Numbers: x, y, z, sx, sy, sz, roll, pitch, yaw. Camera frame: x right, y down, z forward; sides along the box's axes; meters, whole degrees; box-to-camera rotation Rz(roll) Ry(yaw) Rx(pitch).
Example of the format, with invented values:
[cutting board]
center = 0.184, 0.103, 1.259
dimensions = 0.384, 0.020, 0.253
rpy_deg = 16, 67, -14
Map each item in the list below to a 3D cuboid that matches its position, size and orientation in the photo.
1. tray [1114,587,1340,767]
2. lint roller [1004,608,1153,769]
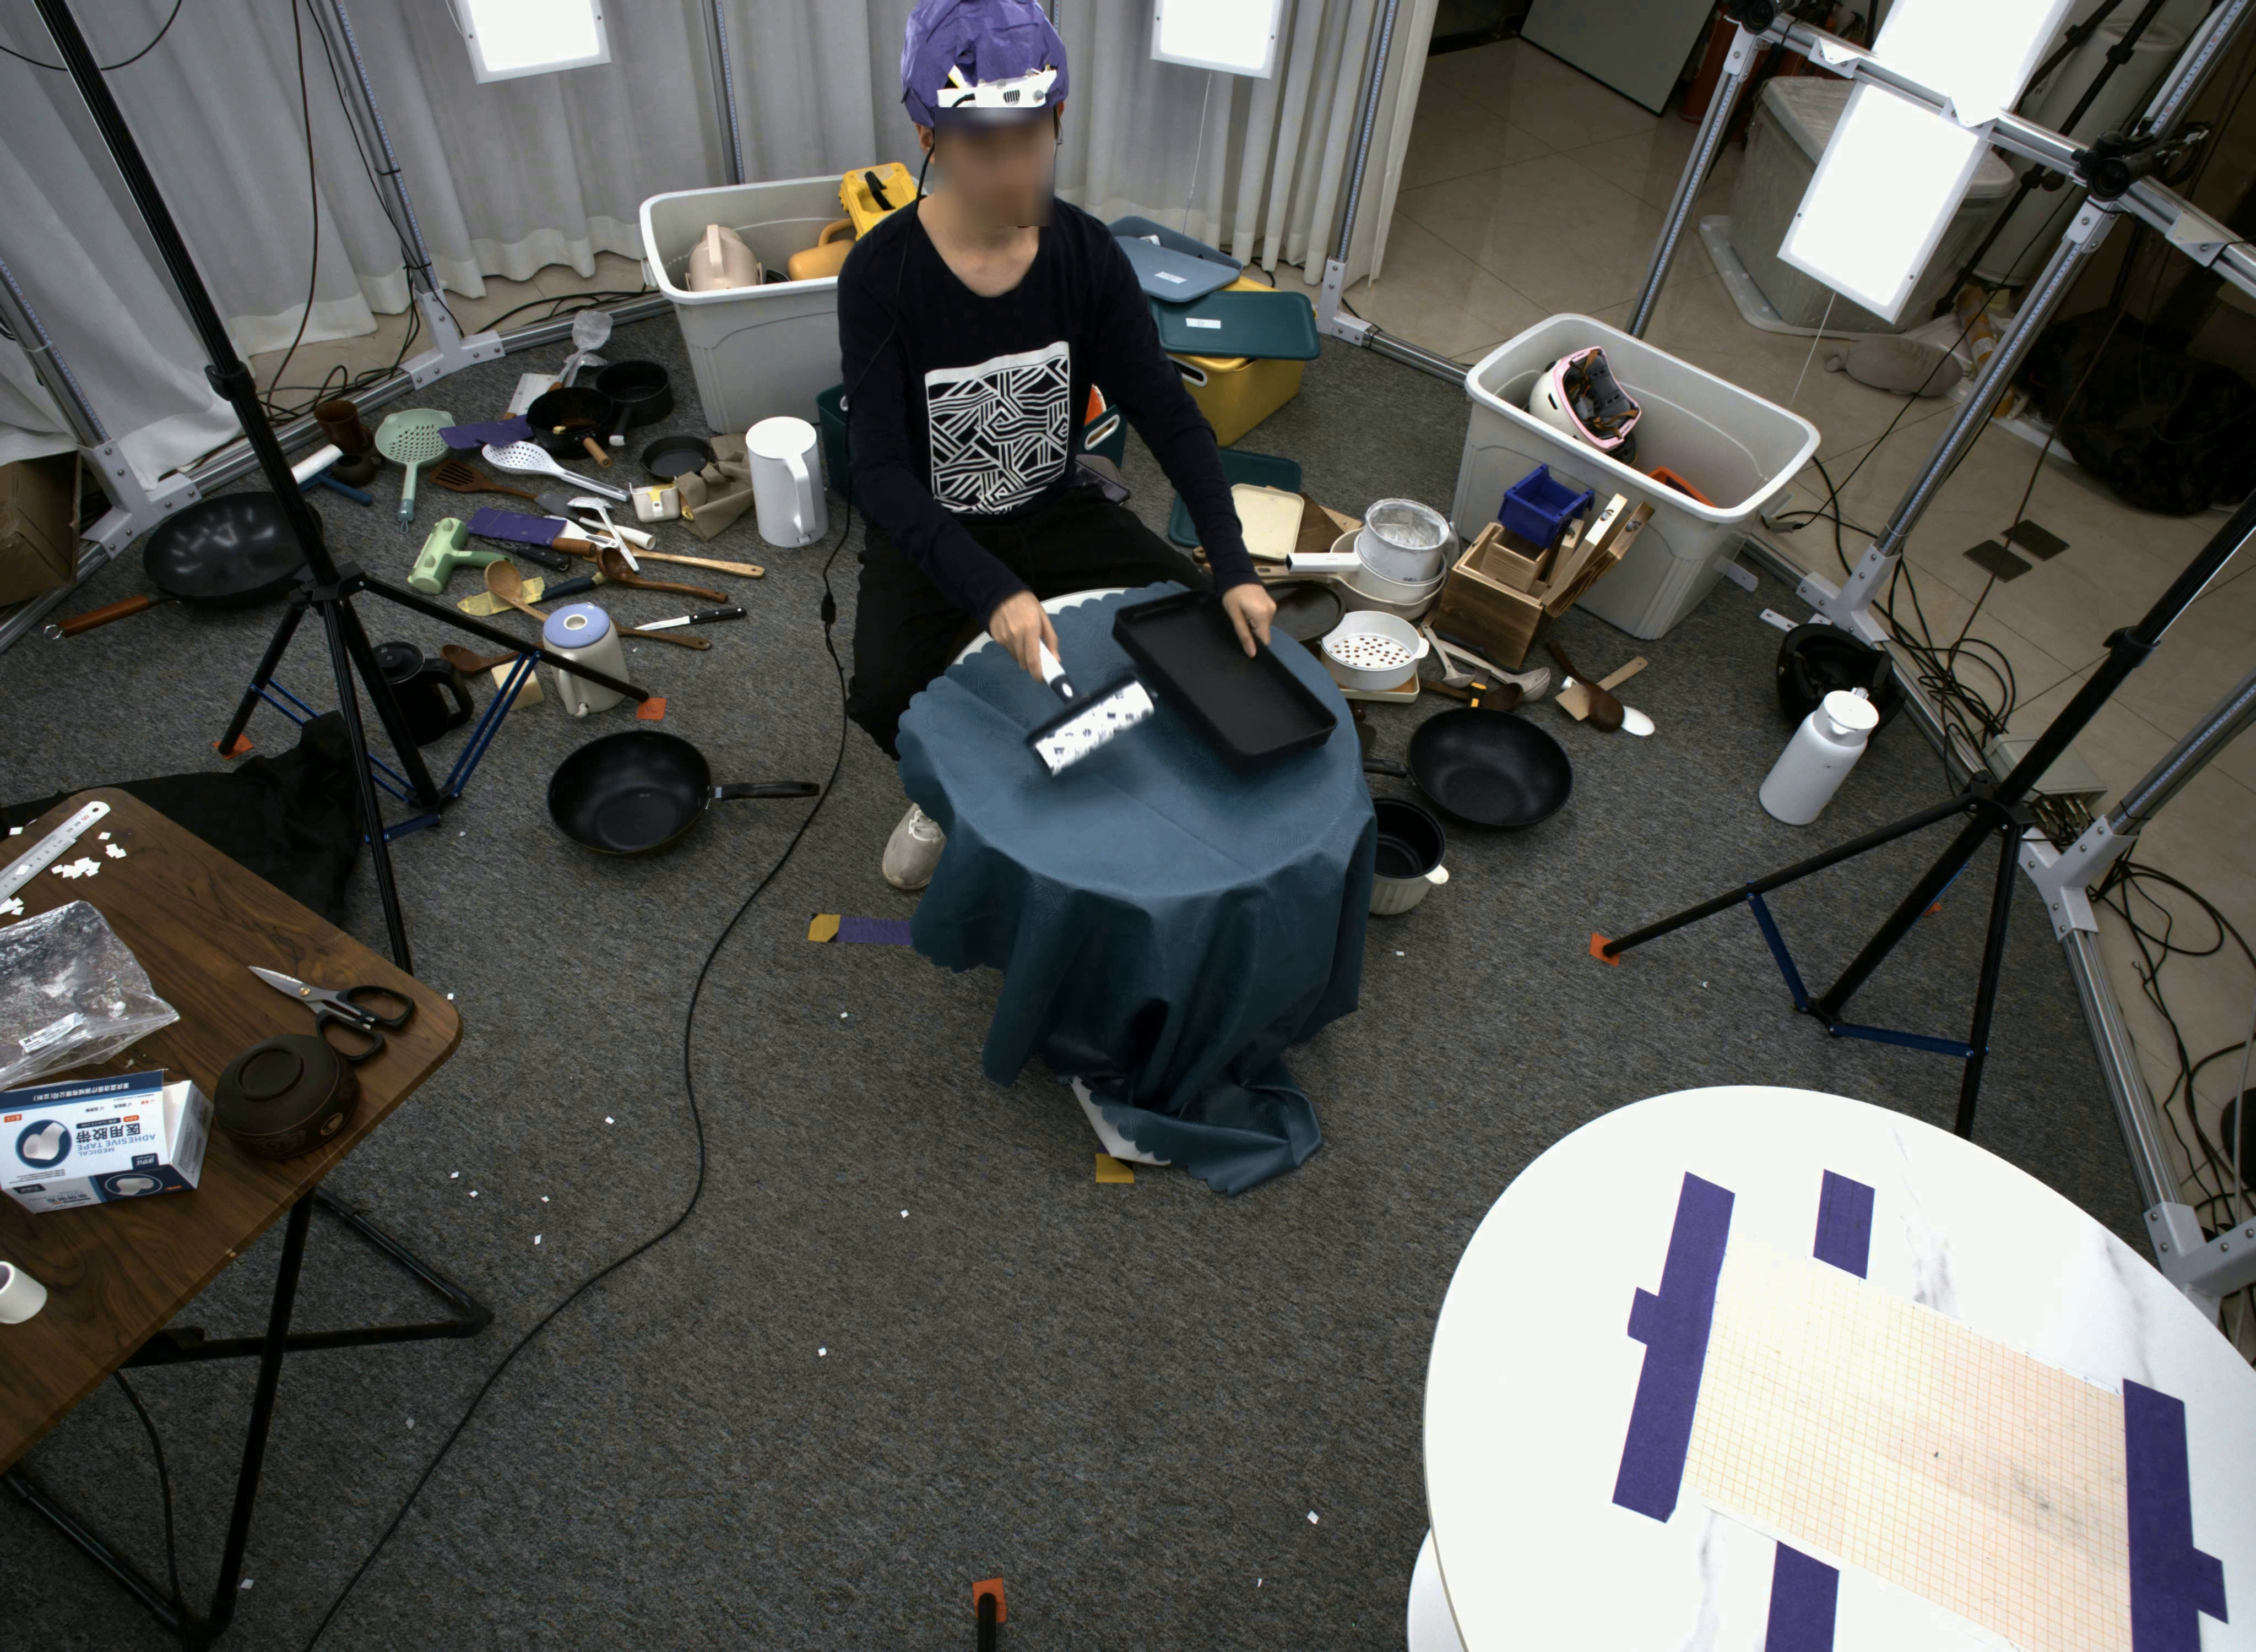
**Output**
[tray]
center = 0.133, -0.214, 1.787
dimensions = 0.185, 0.036, 0.324
rpy_deg = -18, 54, -33
[lint roller]
center = -0.103, -0.209, 1.728
dimensions = 0.176, 0.049, 0.251
rpy_deg = -34, 64, -6
